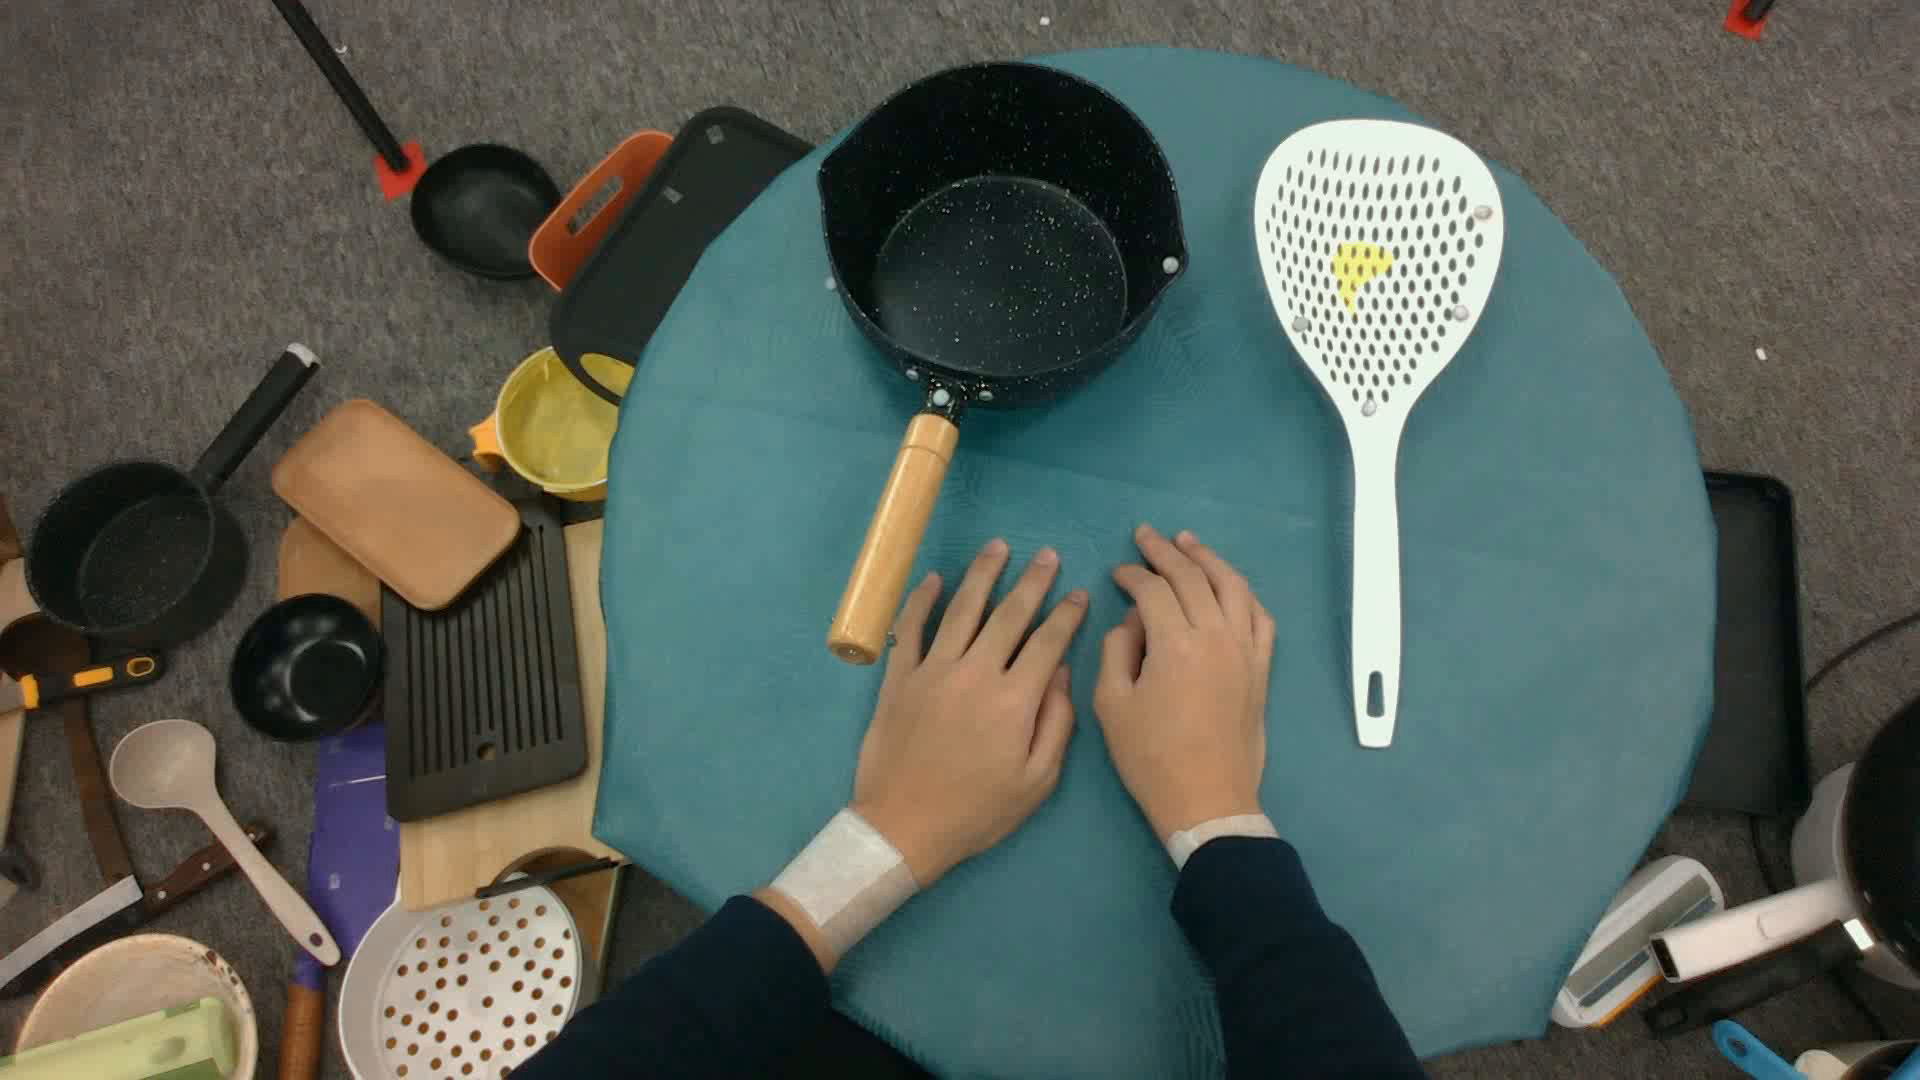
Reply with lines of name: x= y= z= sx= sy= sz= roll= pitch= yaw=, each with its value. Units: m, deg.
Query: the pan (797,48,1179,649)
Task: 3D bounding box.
pan: x=-0.006 y=-0.094 z=0.716 sx=0.207 sy=0.108 sz=0.344 roll=15 pitch=72 yaw=4

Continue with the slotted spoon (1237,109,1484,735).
slotted spoon: x=0.216 y=-0.072 z=0.741 sx=0.137 sy=0.050 sz=0.349 roll=3 pitch=71 yaw=0
